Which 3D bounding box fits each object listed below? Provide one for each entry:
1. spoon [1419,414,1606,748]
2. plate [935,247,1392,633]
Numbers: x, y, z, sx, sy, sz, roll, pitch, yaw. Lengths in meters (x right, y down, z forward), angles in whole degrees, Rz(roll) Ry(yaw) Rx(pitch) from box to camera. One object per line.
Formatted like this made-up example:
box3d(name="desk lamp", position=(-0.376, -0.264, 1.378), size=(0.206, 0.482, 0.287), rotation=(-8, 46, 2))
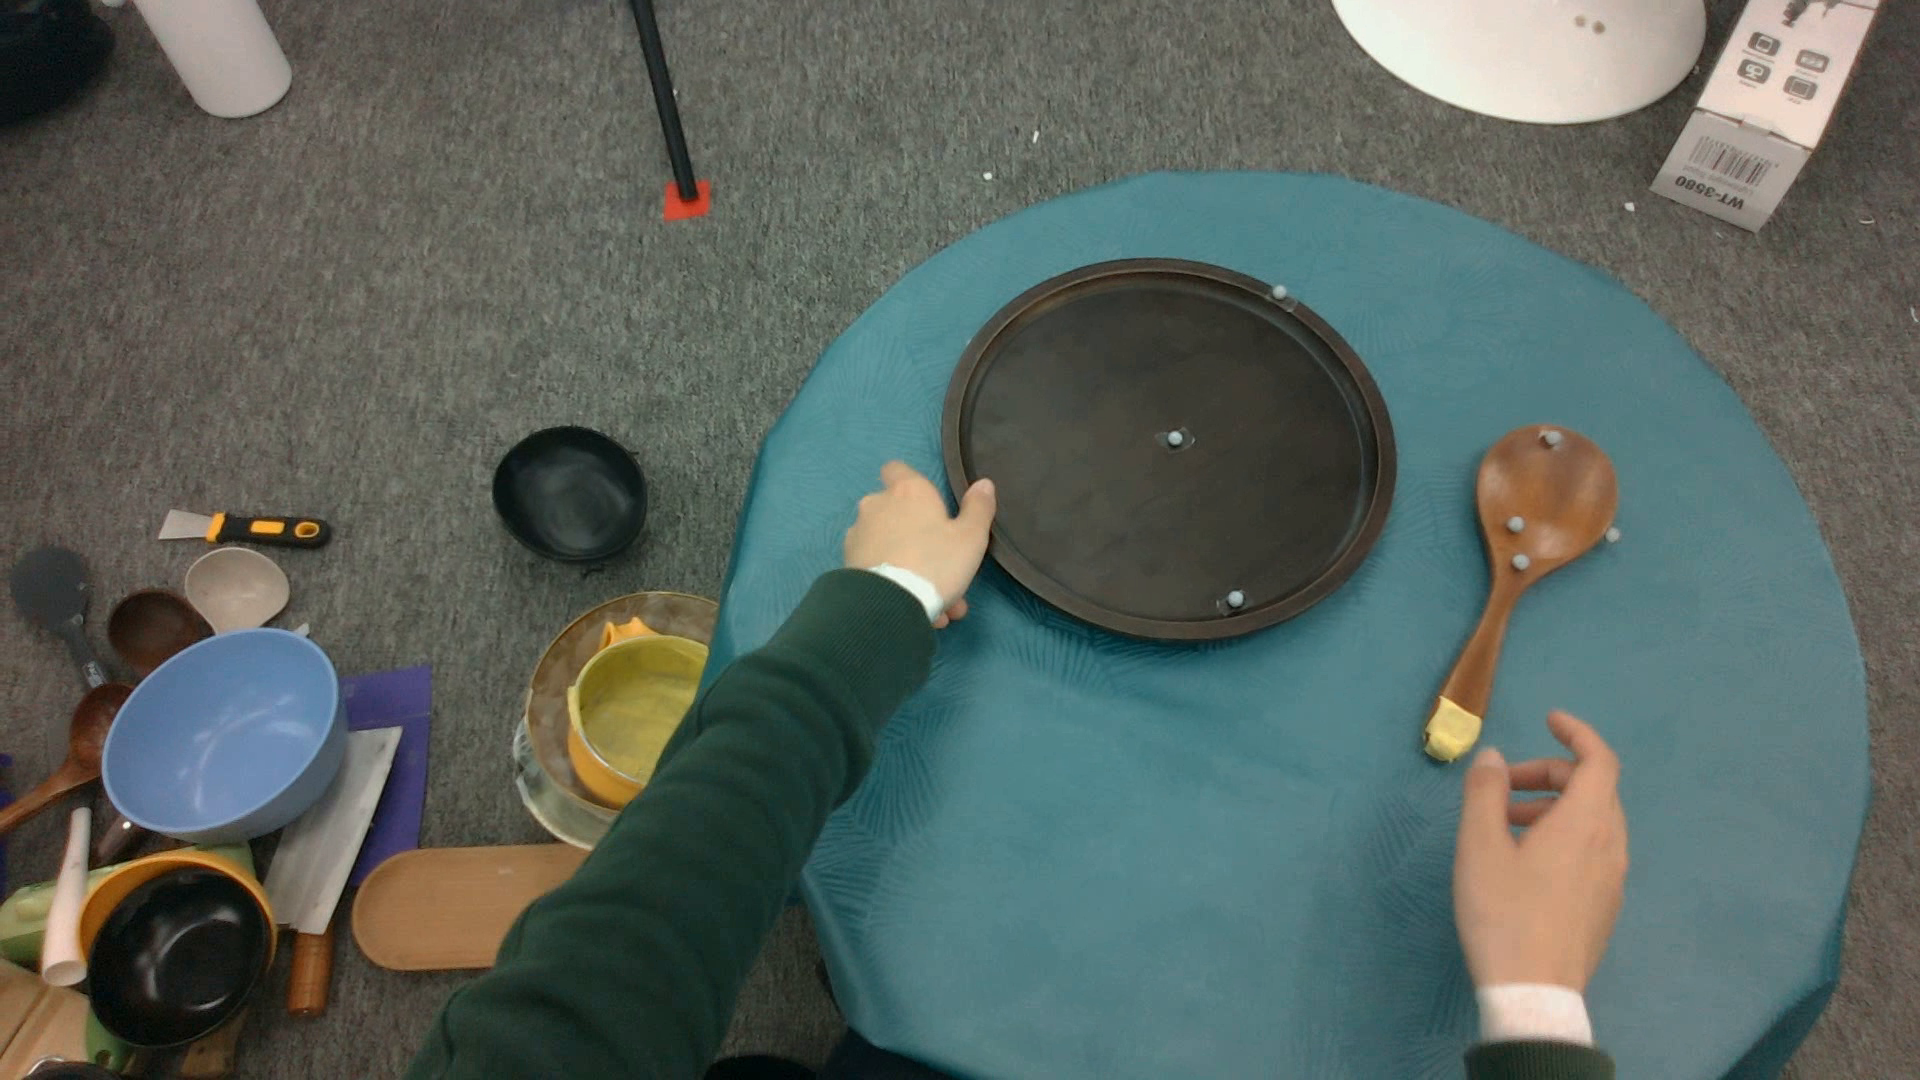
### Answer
box3d(name="spoon", position=(0.287, 0.018, 0.733), size=(0.075, 0.017, 0.217), rotation=(25, 63, 12))
box3d(name="plate", position=(0.112, -0.061, 0.771), size=(0.255, 0.029, 0.256), rotation=(1, 59, -1))
